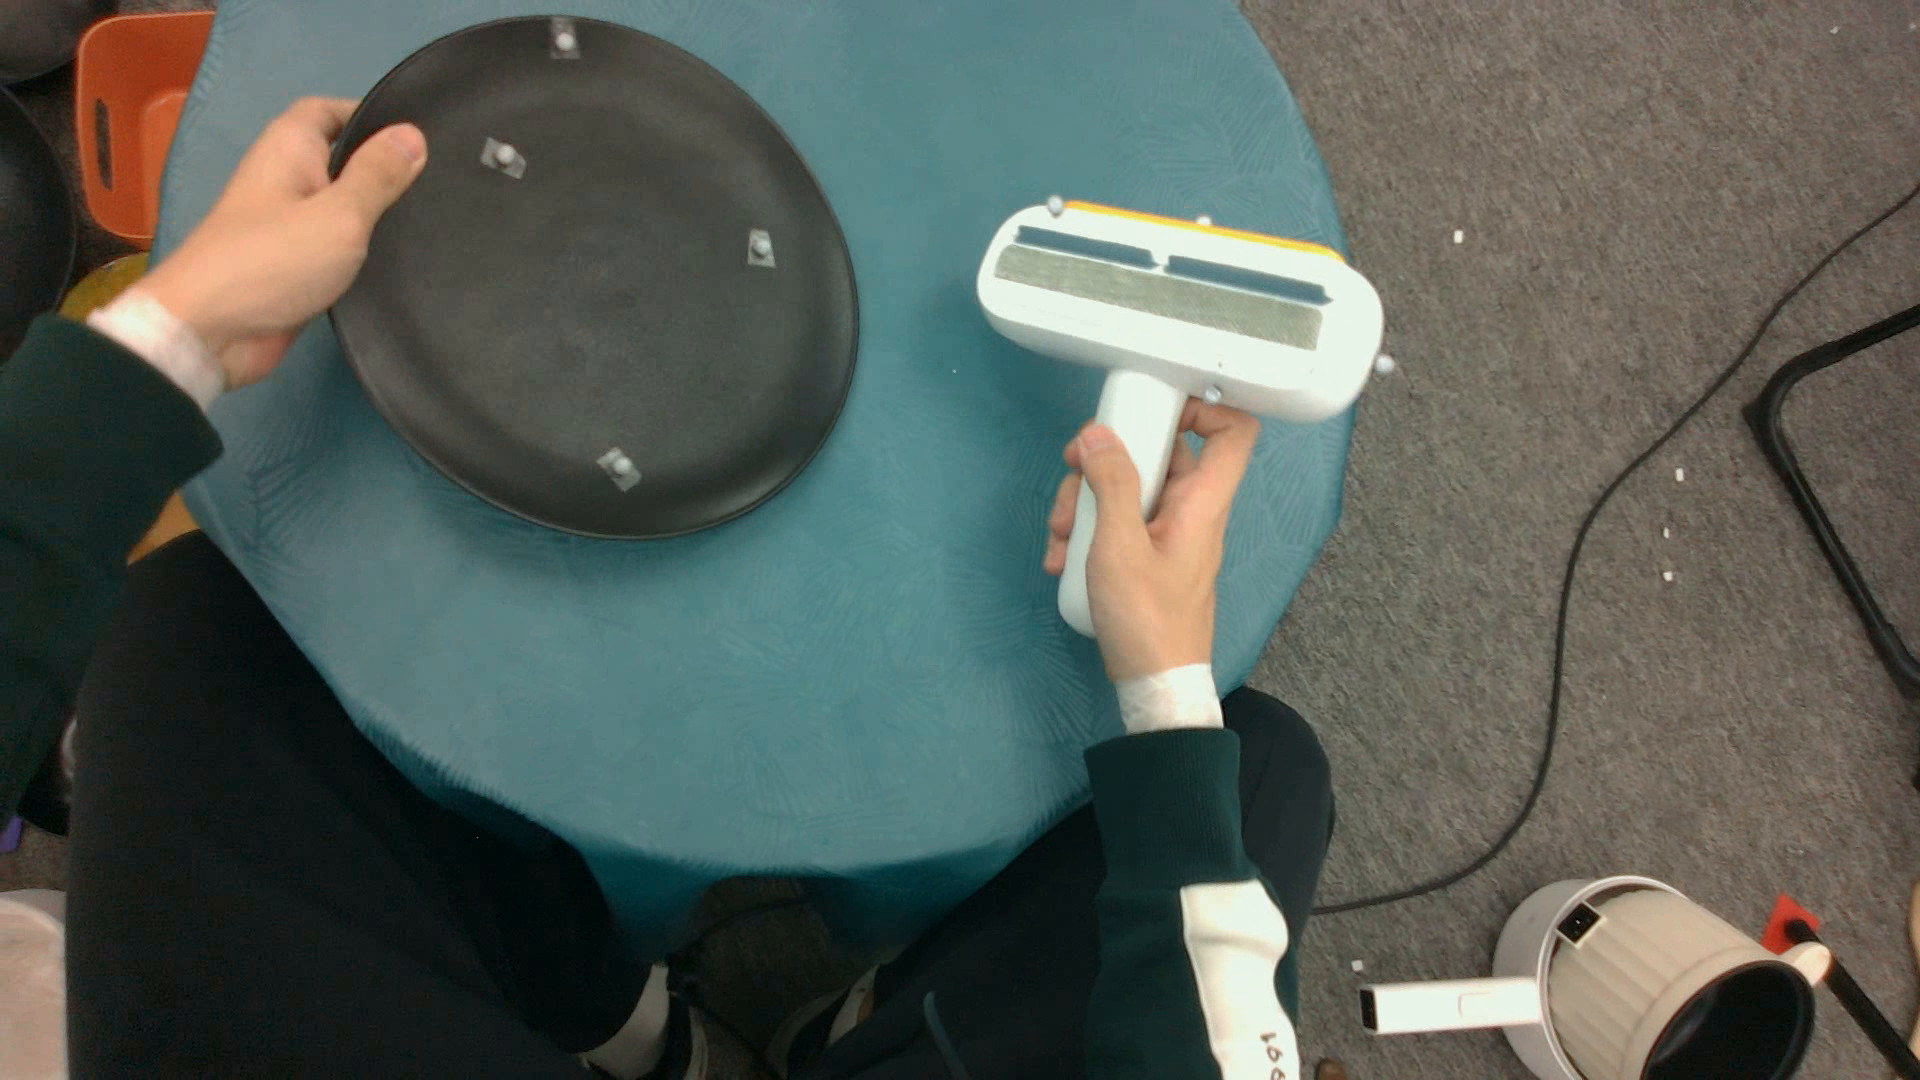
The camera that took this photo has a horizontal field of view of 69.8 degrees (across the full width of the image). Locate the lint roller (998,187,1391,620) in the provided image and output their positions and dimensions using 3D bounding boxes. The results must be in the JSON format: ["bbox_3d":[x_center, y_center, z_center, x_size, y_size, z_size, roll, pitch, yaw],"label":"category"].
[{"bbox_3d":[0.085,-0.050,0.635,0.193,0.074,0.192,29,109,32],"label":"lint roller"}]

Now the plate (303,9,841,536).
[{"bbox_3d":[-0.167,-0.121,0.627,0.245,0.023,0.245,7,77,-33],"label":"plate"}]
